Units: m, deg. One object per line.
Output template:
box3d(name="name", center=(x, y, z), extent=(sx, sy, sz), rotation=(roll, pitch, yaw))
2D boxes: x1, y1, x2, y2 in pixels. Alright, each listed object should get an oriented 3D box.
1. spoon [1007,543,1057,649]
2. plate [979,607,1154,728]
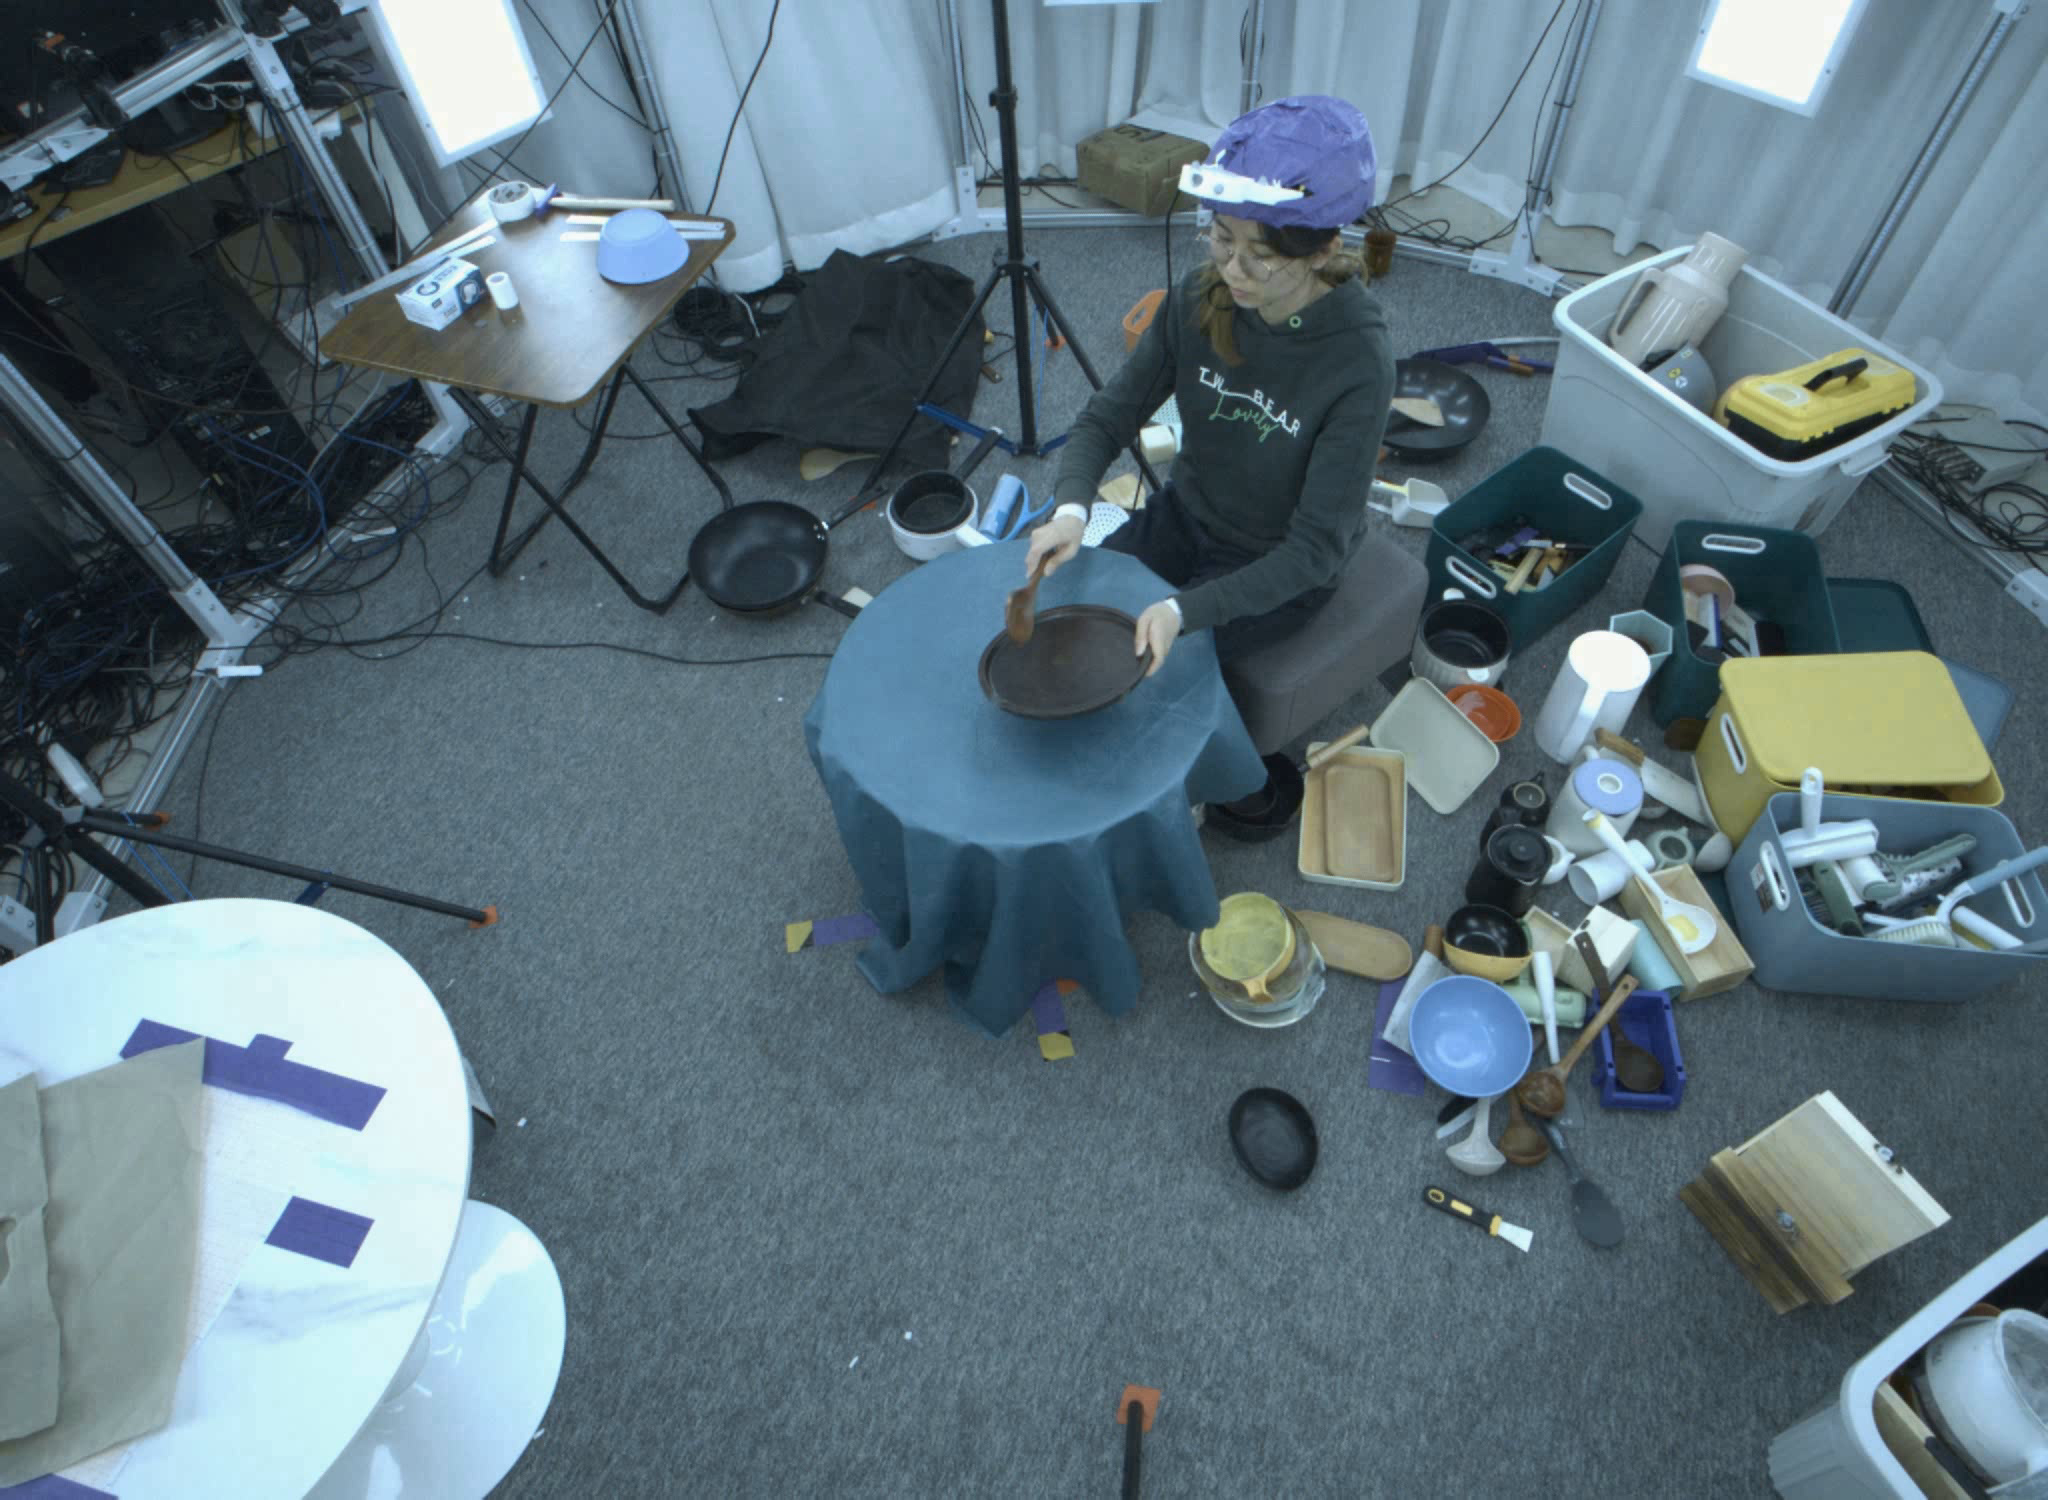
box3d(name="spoon", center=(0.013, -0.230, 1.789), extent=(0.017, 0.077, 0.215), rotation=(-5, 44, 28))
box3d(name="plate", center=(0.061, -0.119, 1.763), extent=(0.253, 0.029, 0.252), rotation=(-6, 44, 7))
